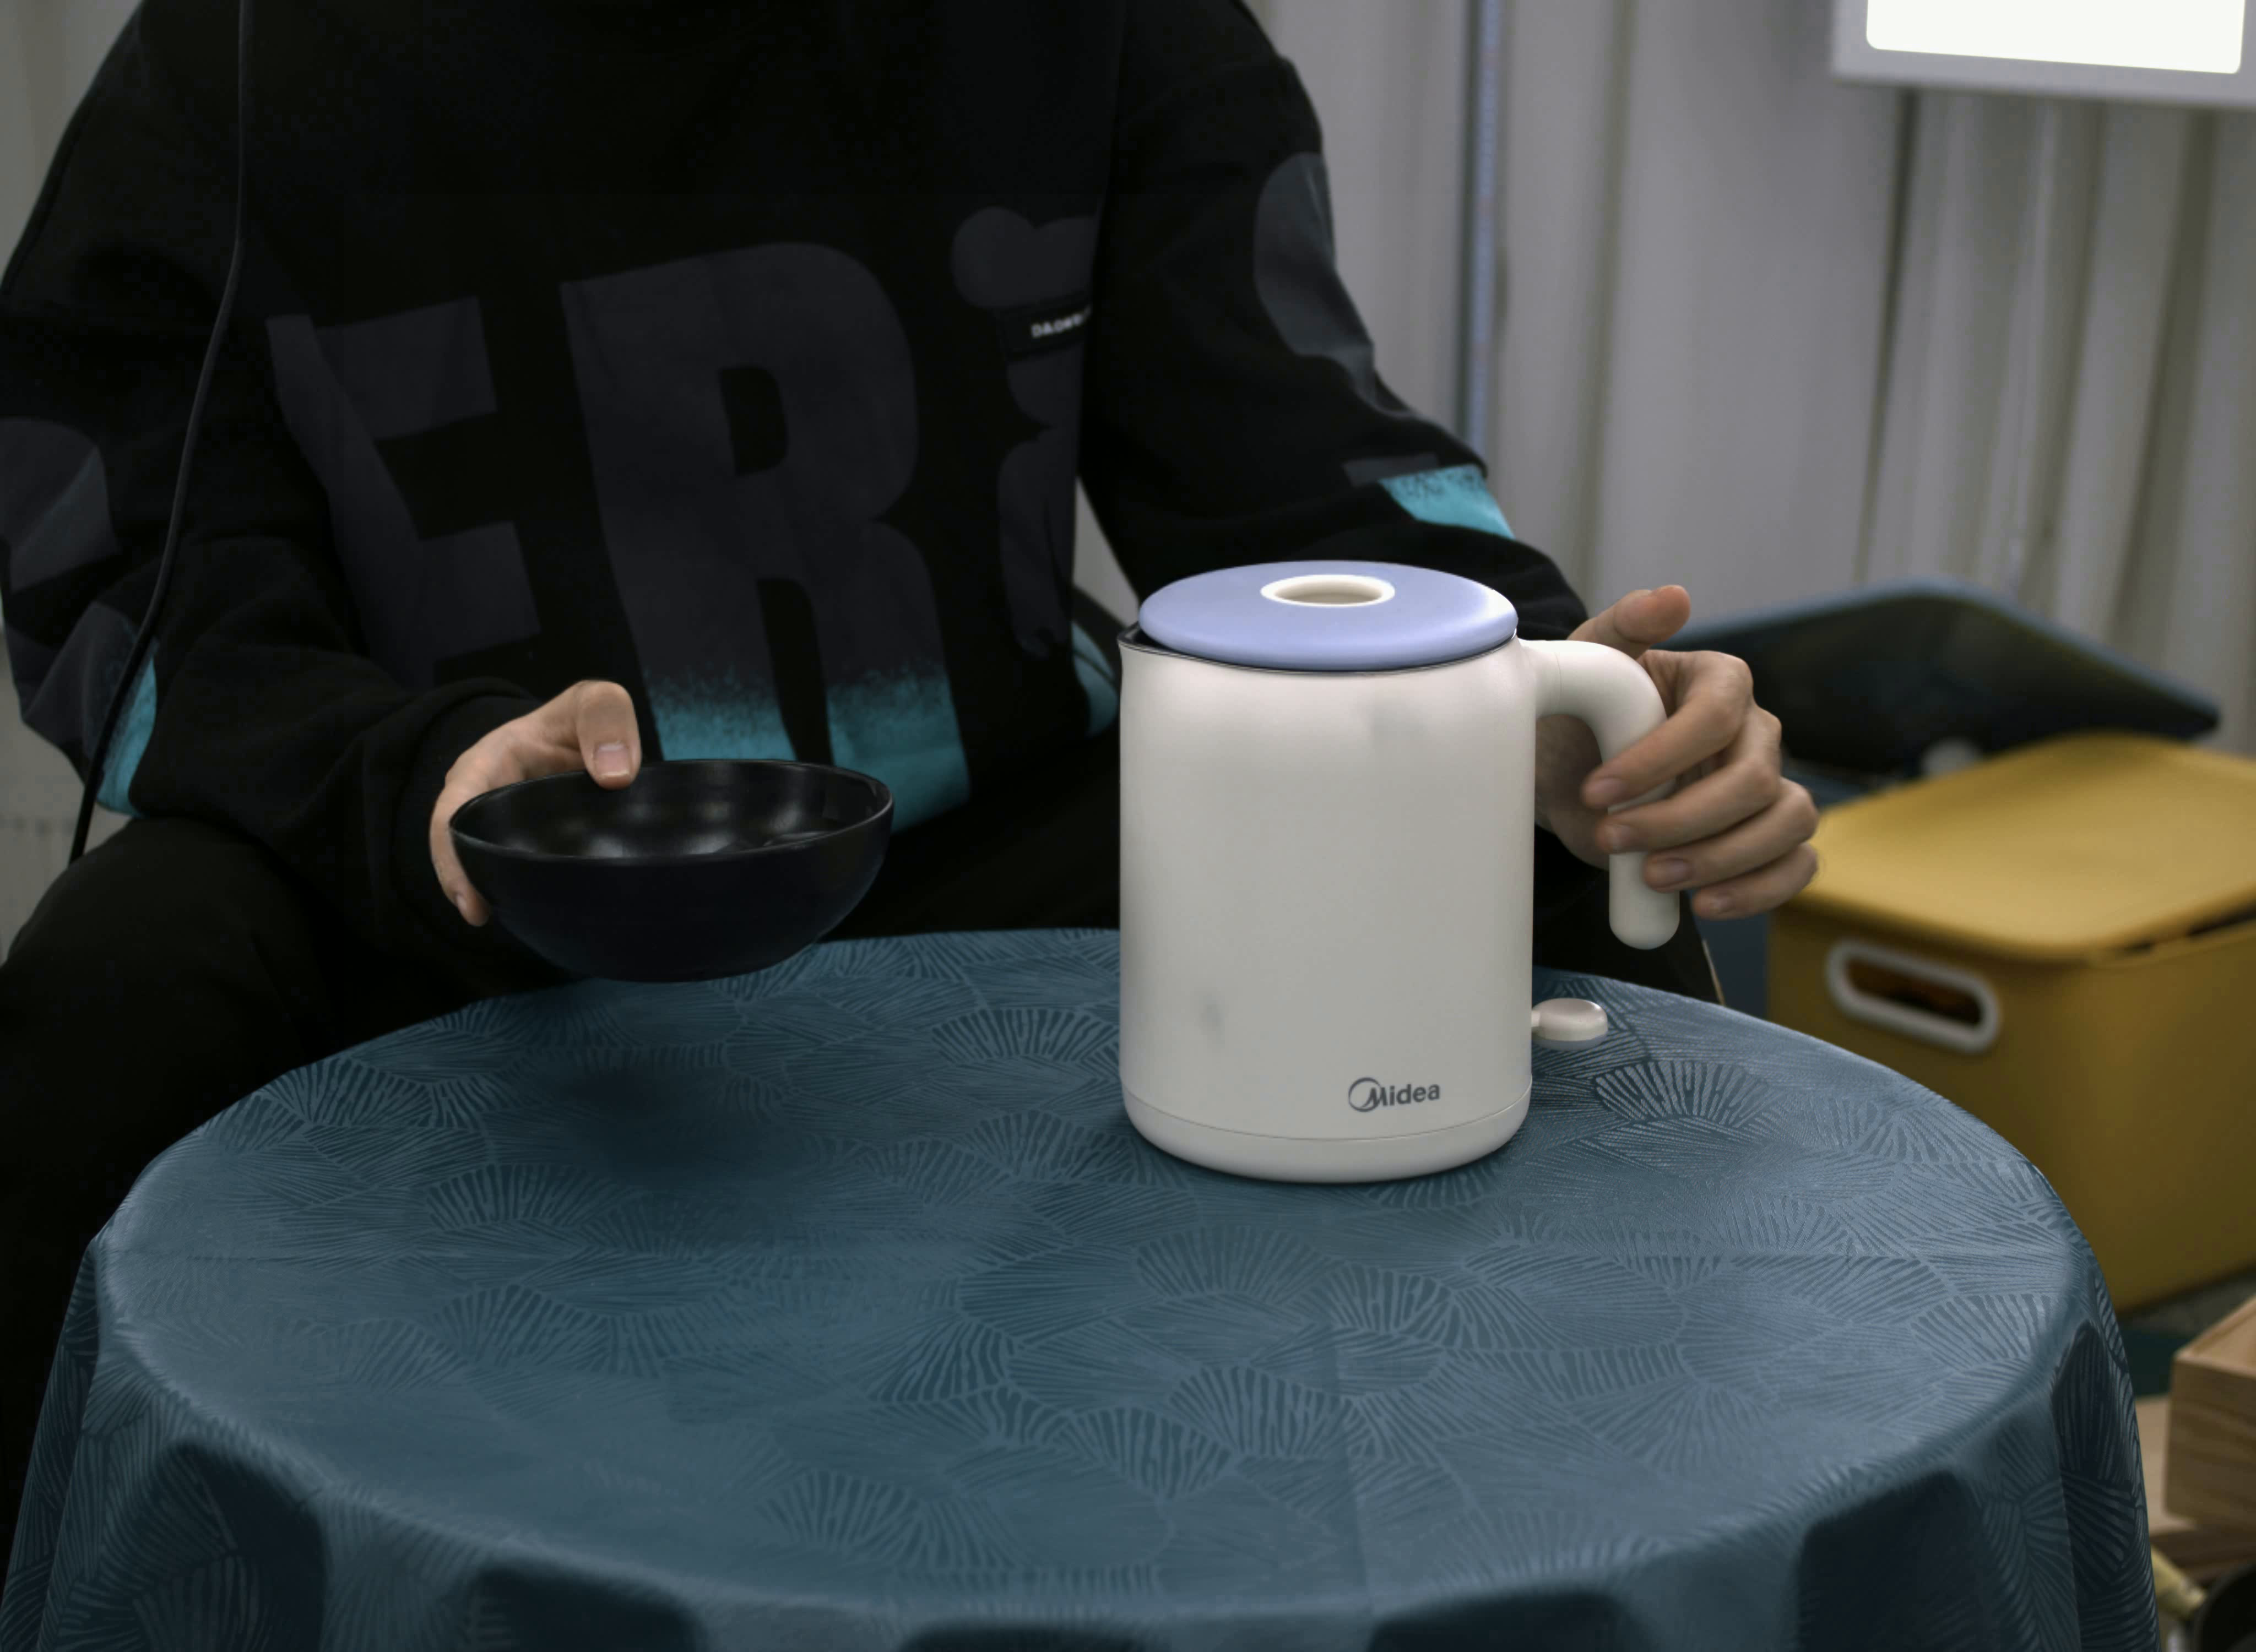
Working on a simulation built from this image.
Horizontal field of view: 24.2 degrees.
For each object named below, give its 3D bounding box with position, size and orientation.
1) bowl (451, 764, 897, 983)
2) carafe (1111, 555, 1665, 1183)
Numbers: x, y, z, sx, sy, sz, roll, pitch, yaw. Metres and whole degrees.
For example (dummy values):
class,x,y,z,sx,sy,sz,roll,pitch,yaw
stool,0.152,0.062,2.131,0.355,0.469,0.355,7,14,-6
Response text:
class,x,y,z,sx,sy,sz,roll,pitch,yaw
bowl,-0.140,0.017,1.641,0.139,0.050,0.139,-2,11,1
carafe,0.085,0.011,1.667,0.191,0.184,0.131,-3,17,-19
